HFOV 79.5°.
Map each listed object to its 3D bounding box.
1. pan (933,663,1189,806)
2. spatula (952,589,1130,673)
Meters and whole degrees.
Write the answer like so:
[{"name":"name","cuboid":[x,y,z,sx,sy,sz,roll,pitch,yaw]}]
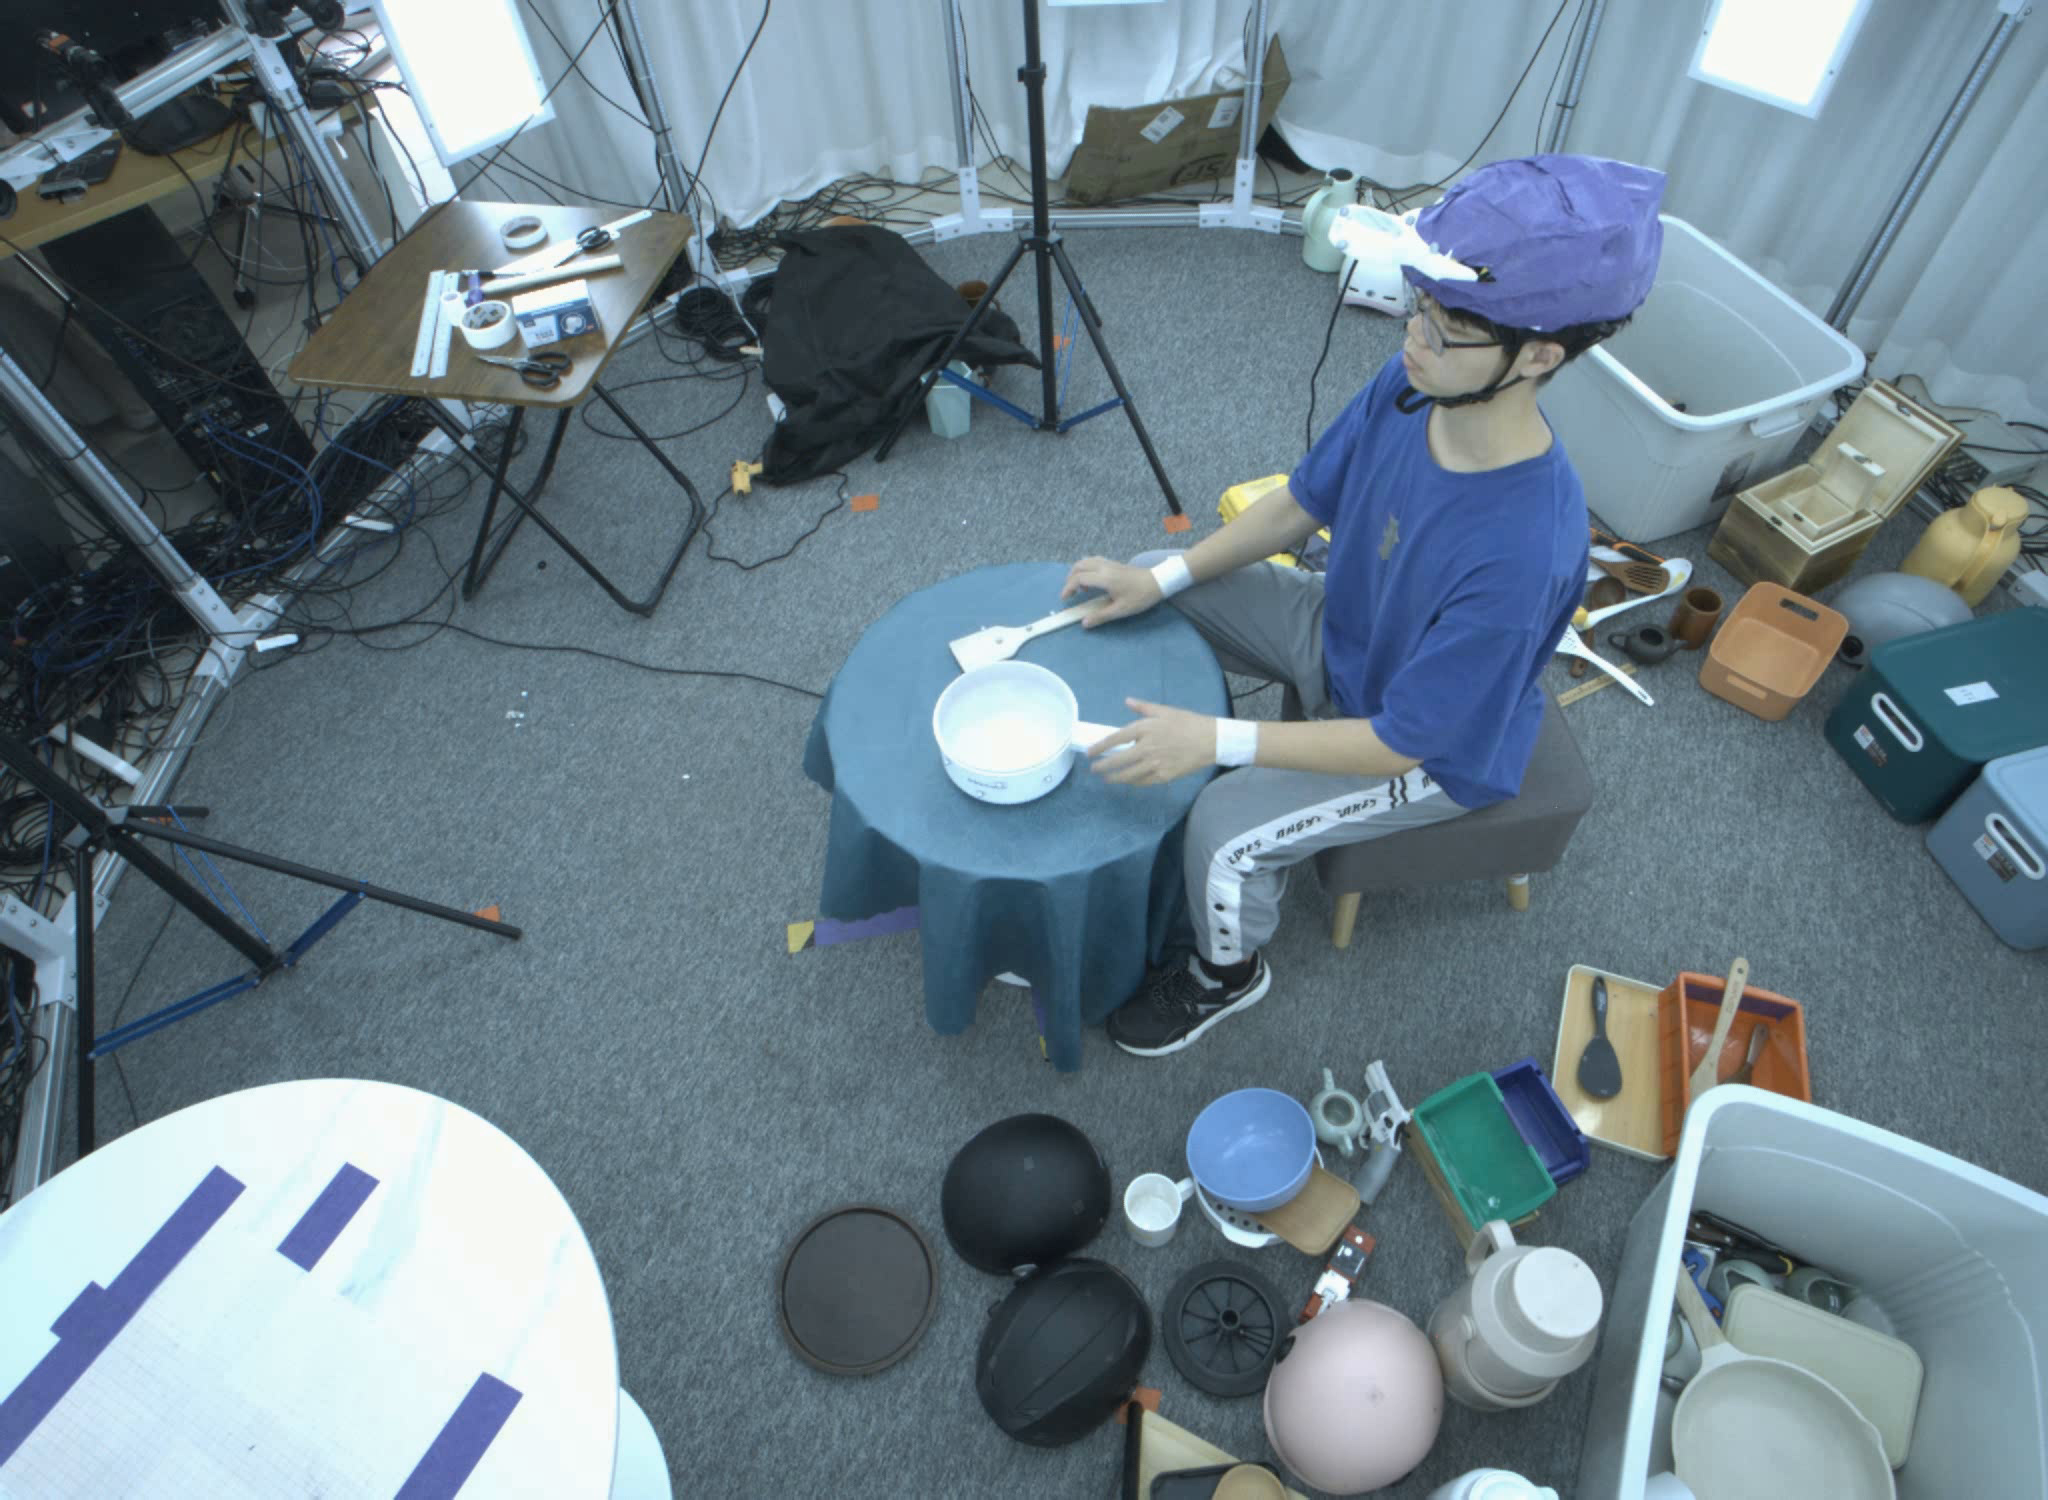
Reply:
[{"name":"pan","cuboid":[0.052,-0.005,1.719,0.352,0.103,0.200,10,54,10]},{"name":"spatula","cuboid":[0.032,-0.194,1.910,0.295,0.011,0.071,-22,55,-13]}]
